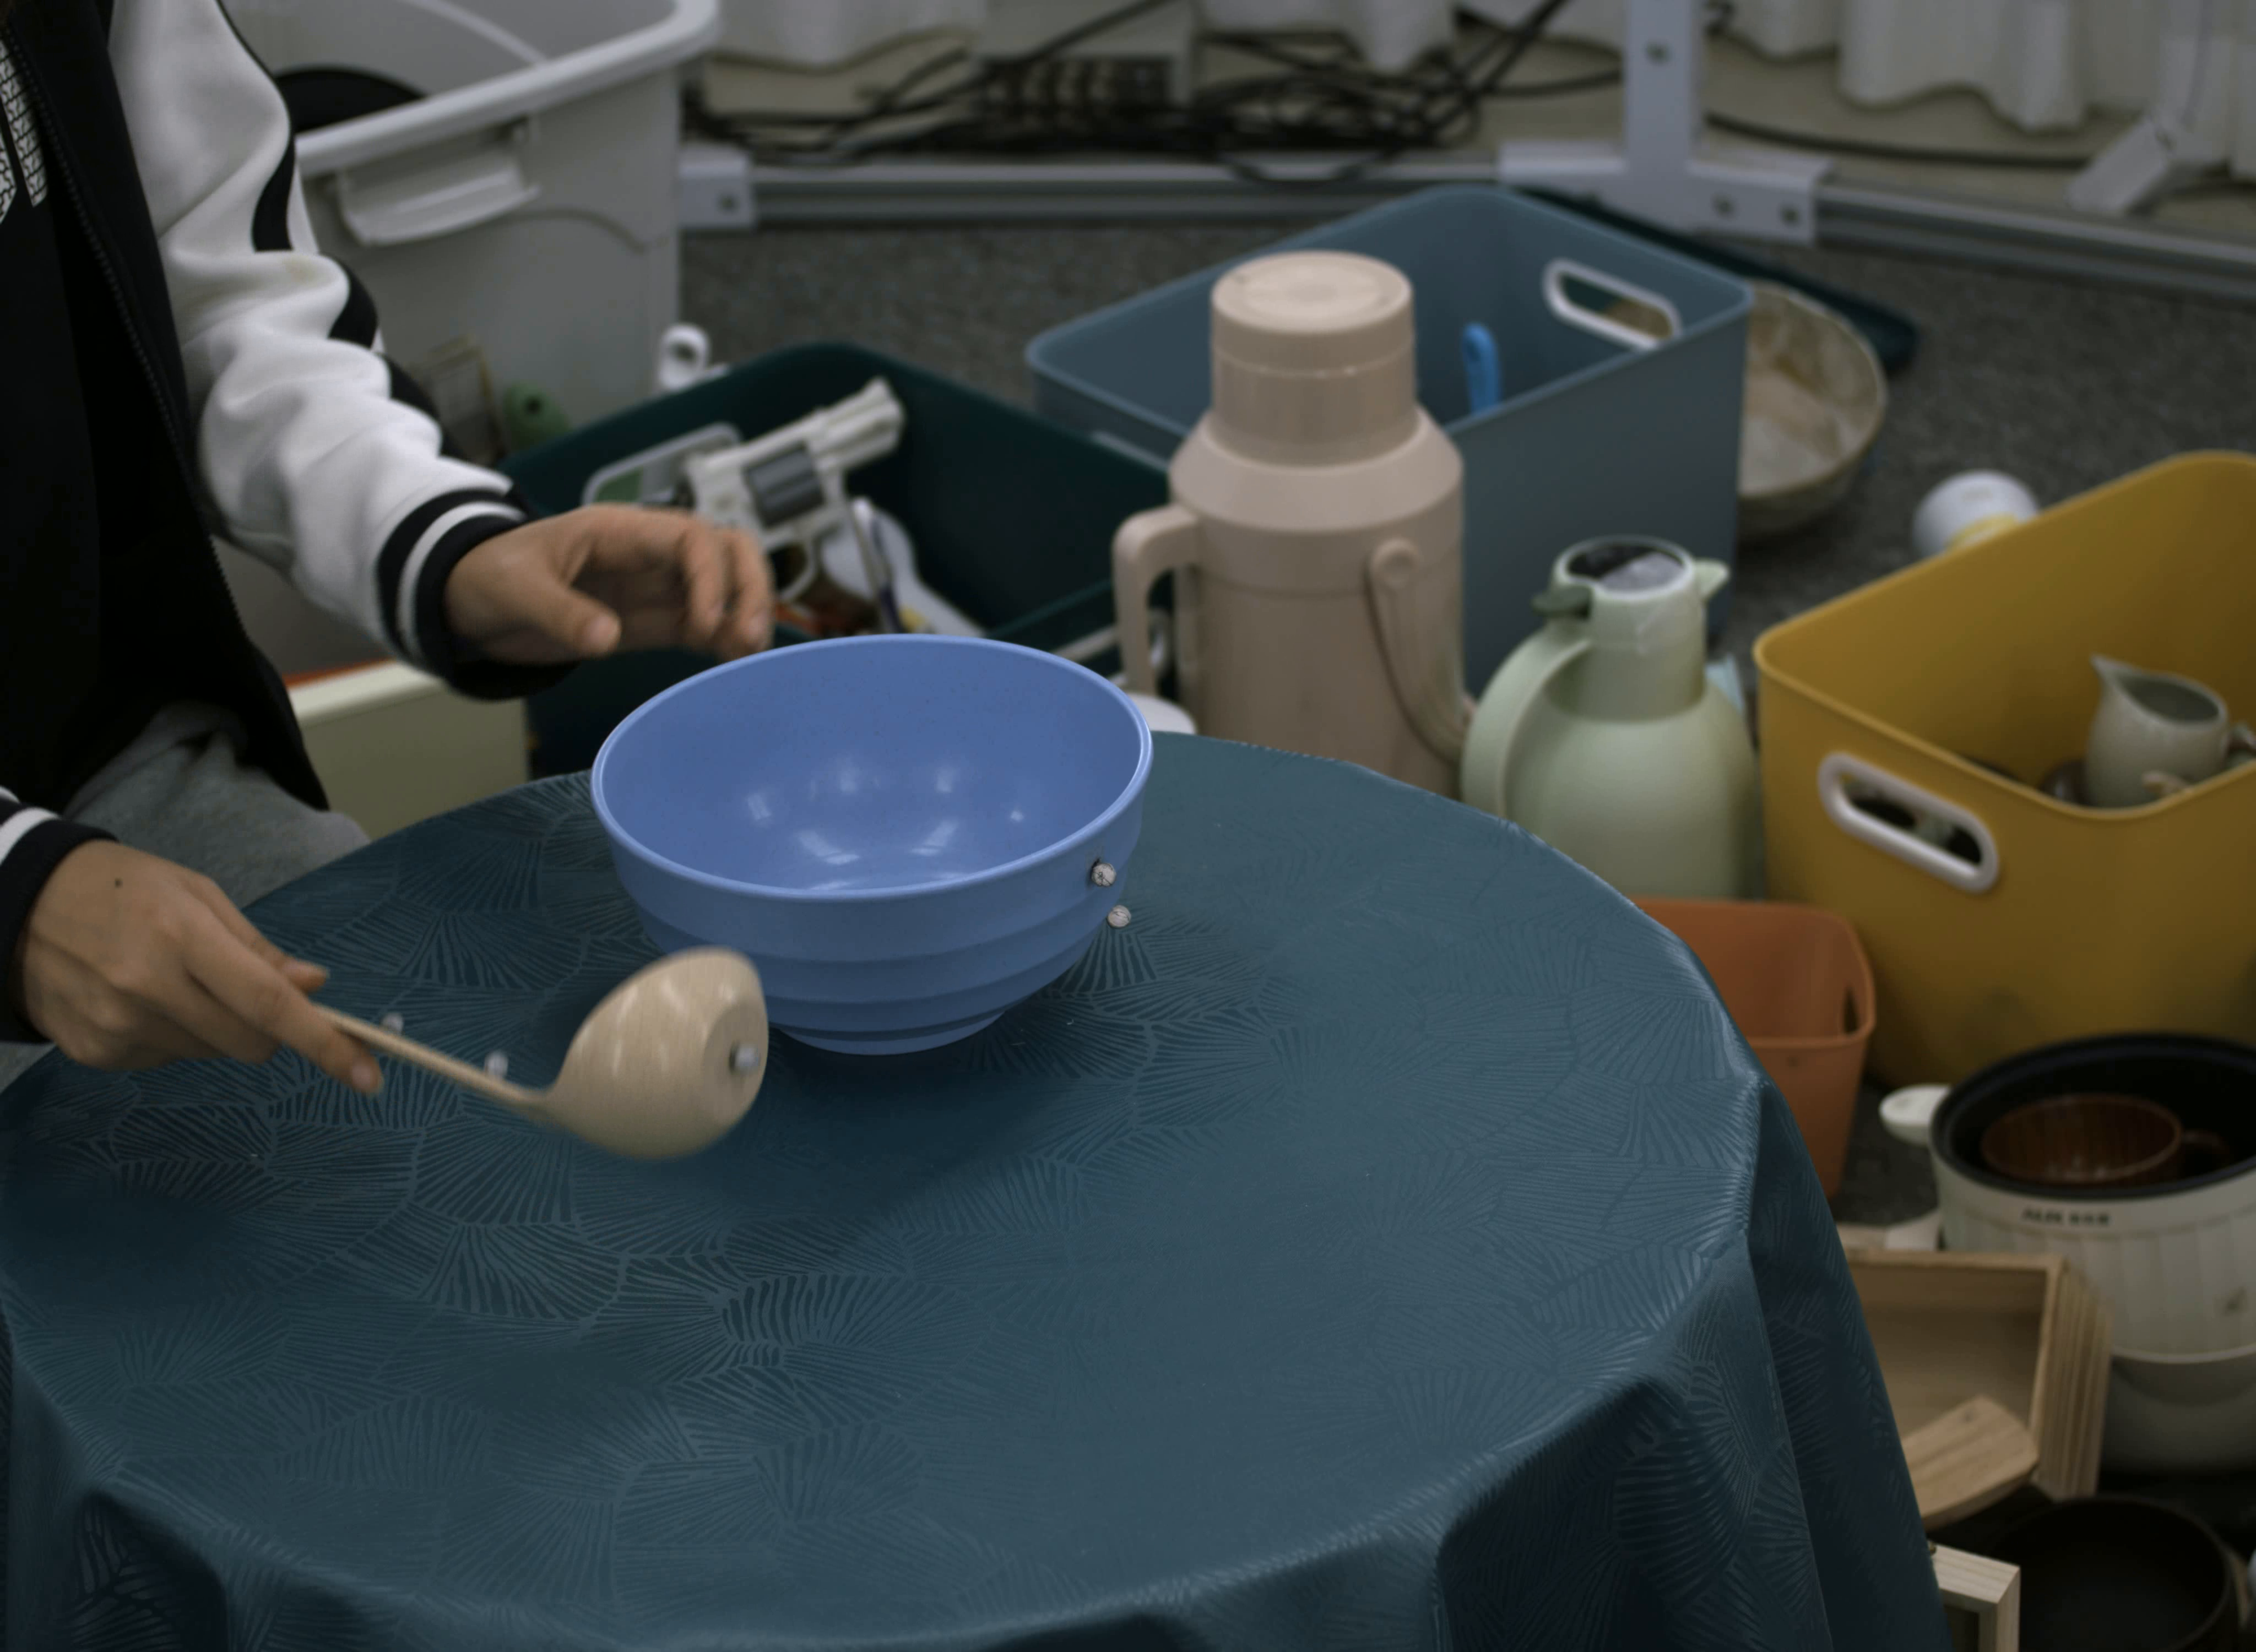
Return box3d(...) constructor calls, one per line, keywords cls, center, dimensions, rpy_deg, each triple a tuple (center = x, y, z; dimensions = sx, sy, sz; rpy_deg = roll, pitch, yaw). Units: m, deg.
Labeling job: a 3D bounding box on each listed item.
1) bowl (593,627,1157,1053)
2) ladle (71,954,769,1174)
box3d(cls="bowl", center=(-0.087, 0.016, 1.970), dimensions=(0.195, 0.094, 0.199), rpy_deg=(0, 28, 0))
box3d(cls="ladle", center=(-0.231, 0.051, 1.834), dimensions=(0.253, 0.071, 0.074), rpy_deg=(17, 68, 28))
